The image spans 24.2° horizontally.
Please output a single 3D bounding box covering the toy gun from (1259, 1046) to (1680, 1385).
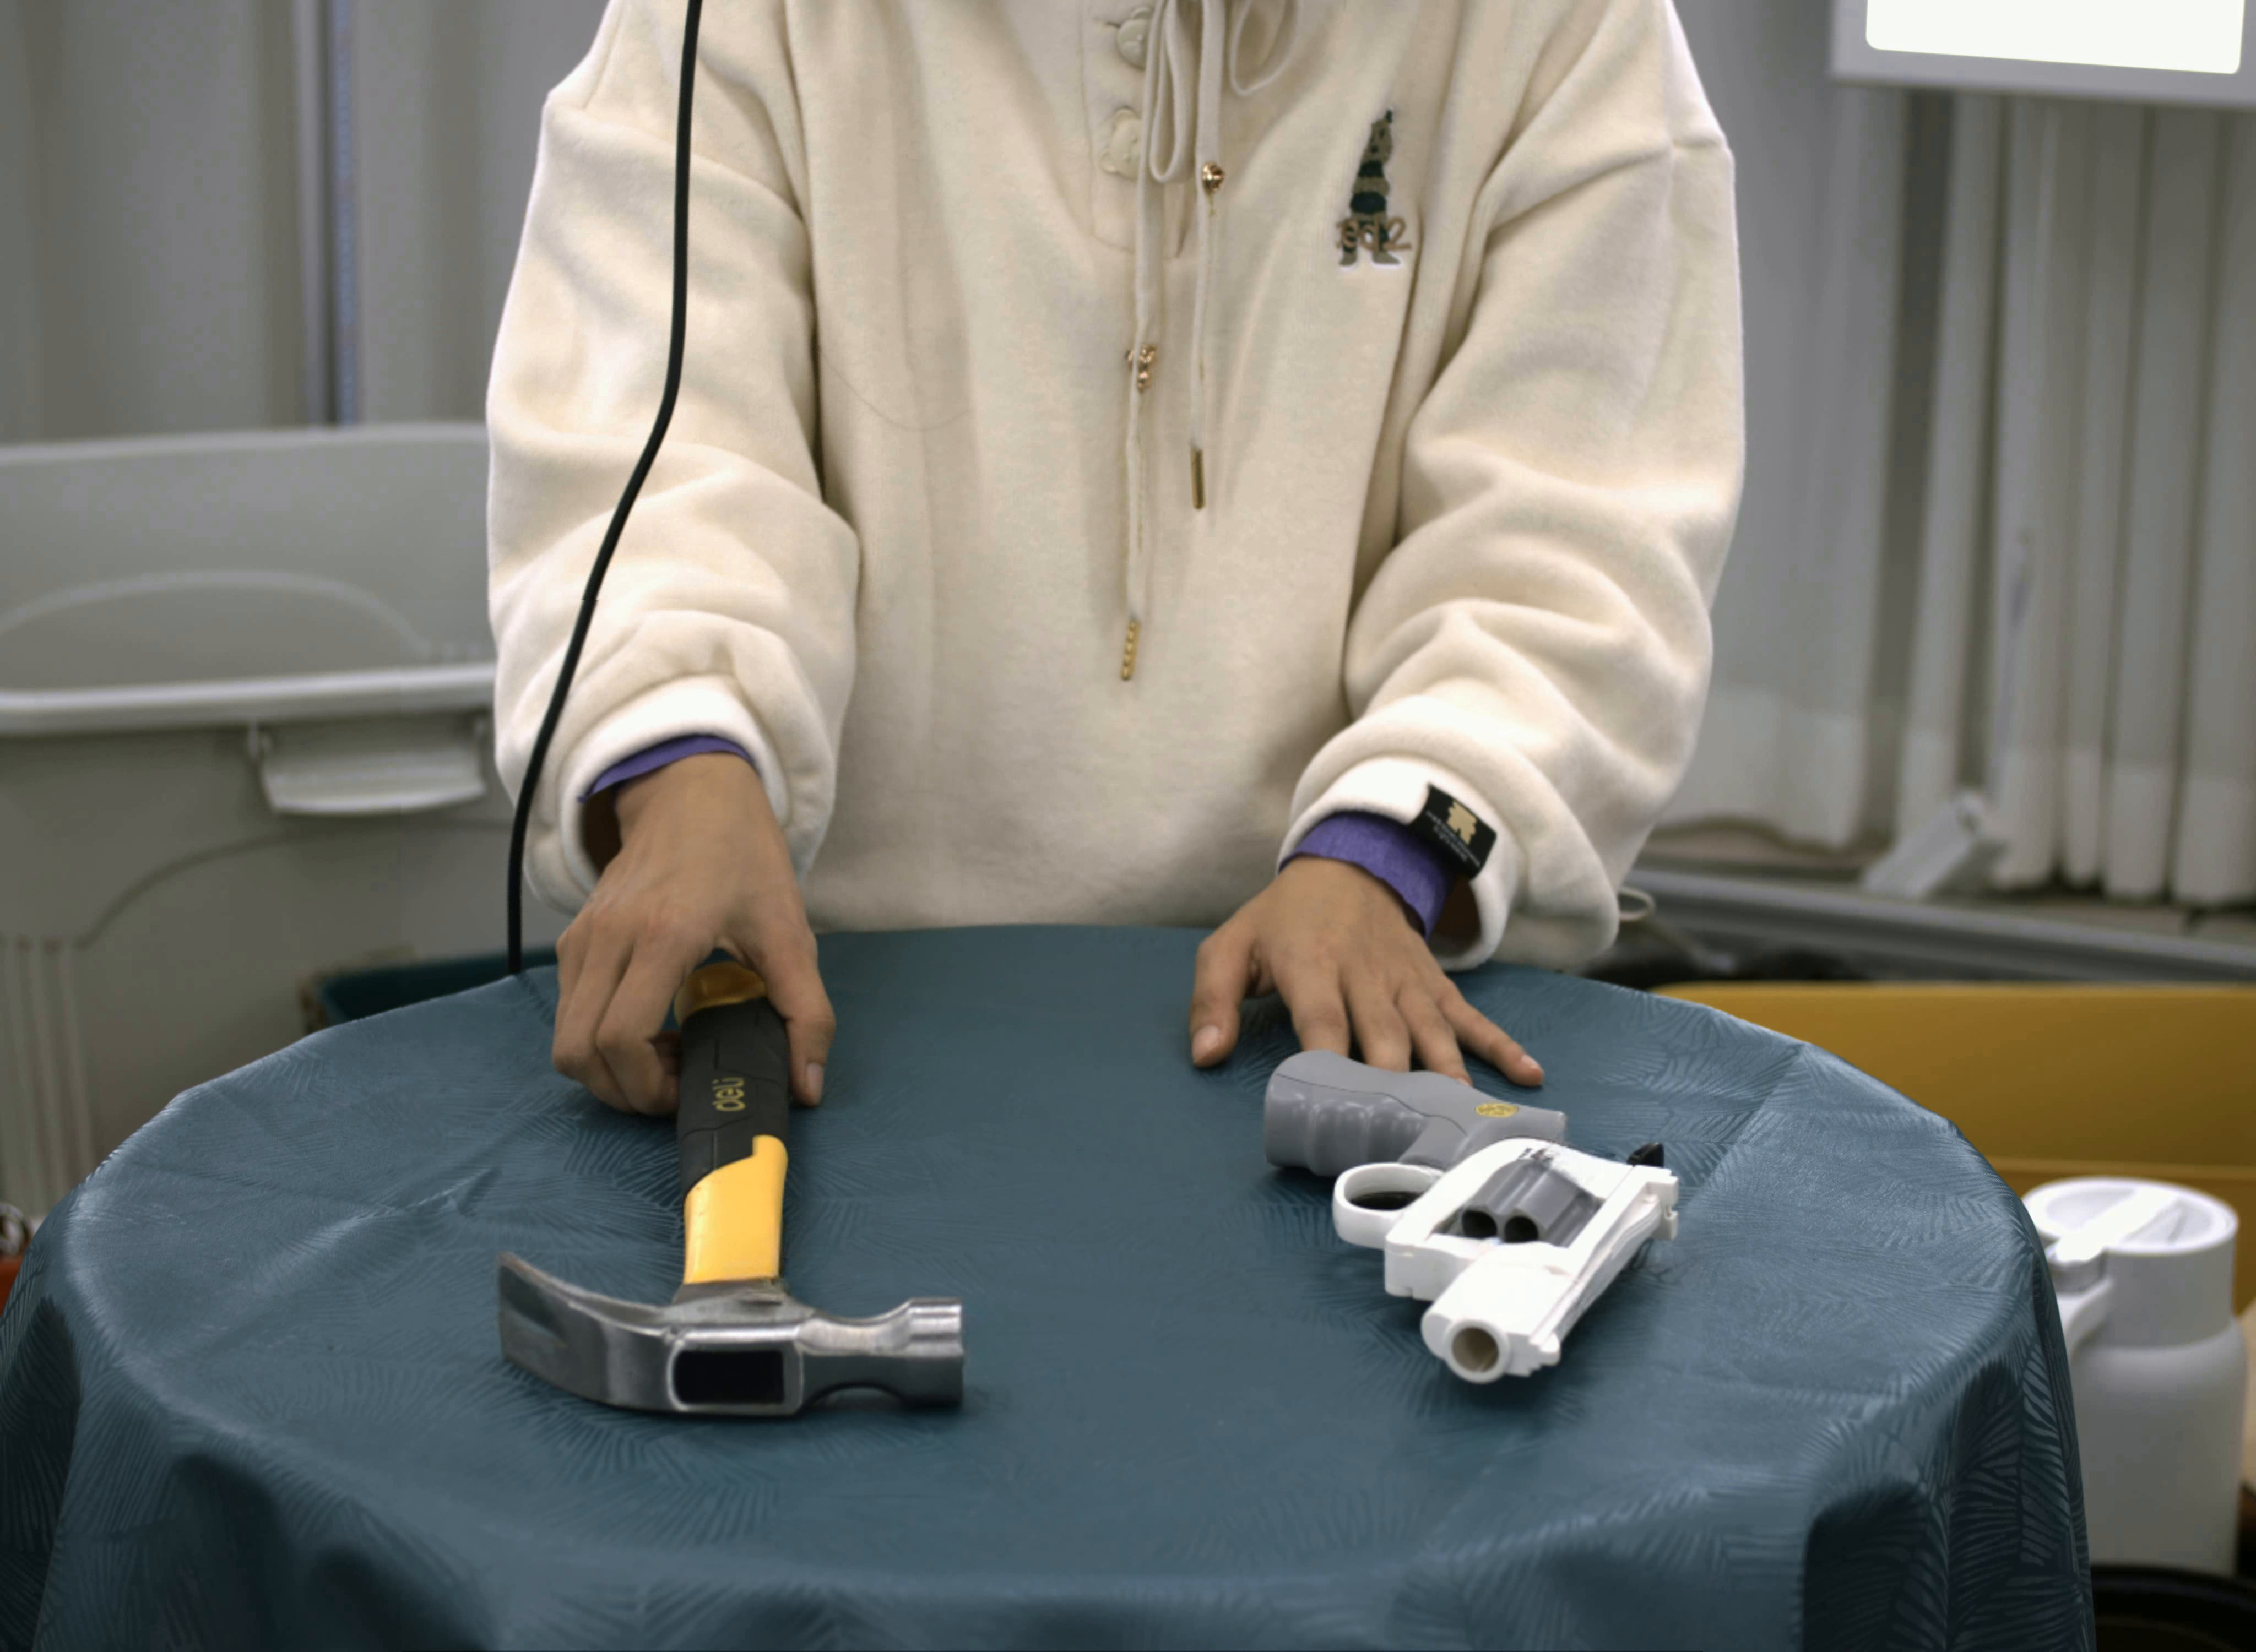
[{"bbox_3d":[0.088,0.112,1.550,0.140,0.039,0.209,6,17,17],"label":"toy gun"}]

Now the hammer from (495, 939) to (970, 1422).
[{"bbox_3d":[-0.119,0.099,1.587,0.131,0.032,0.336,-2,18,-3],"label":"hammer"}]
